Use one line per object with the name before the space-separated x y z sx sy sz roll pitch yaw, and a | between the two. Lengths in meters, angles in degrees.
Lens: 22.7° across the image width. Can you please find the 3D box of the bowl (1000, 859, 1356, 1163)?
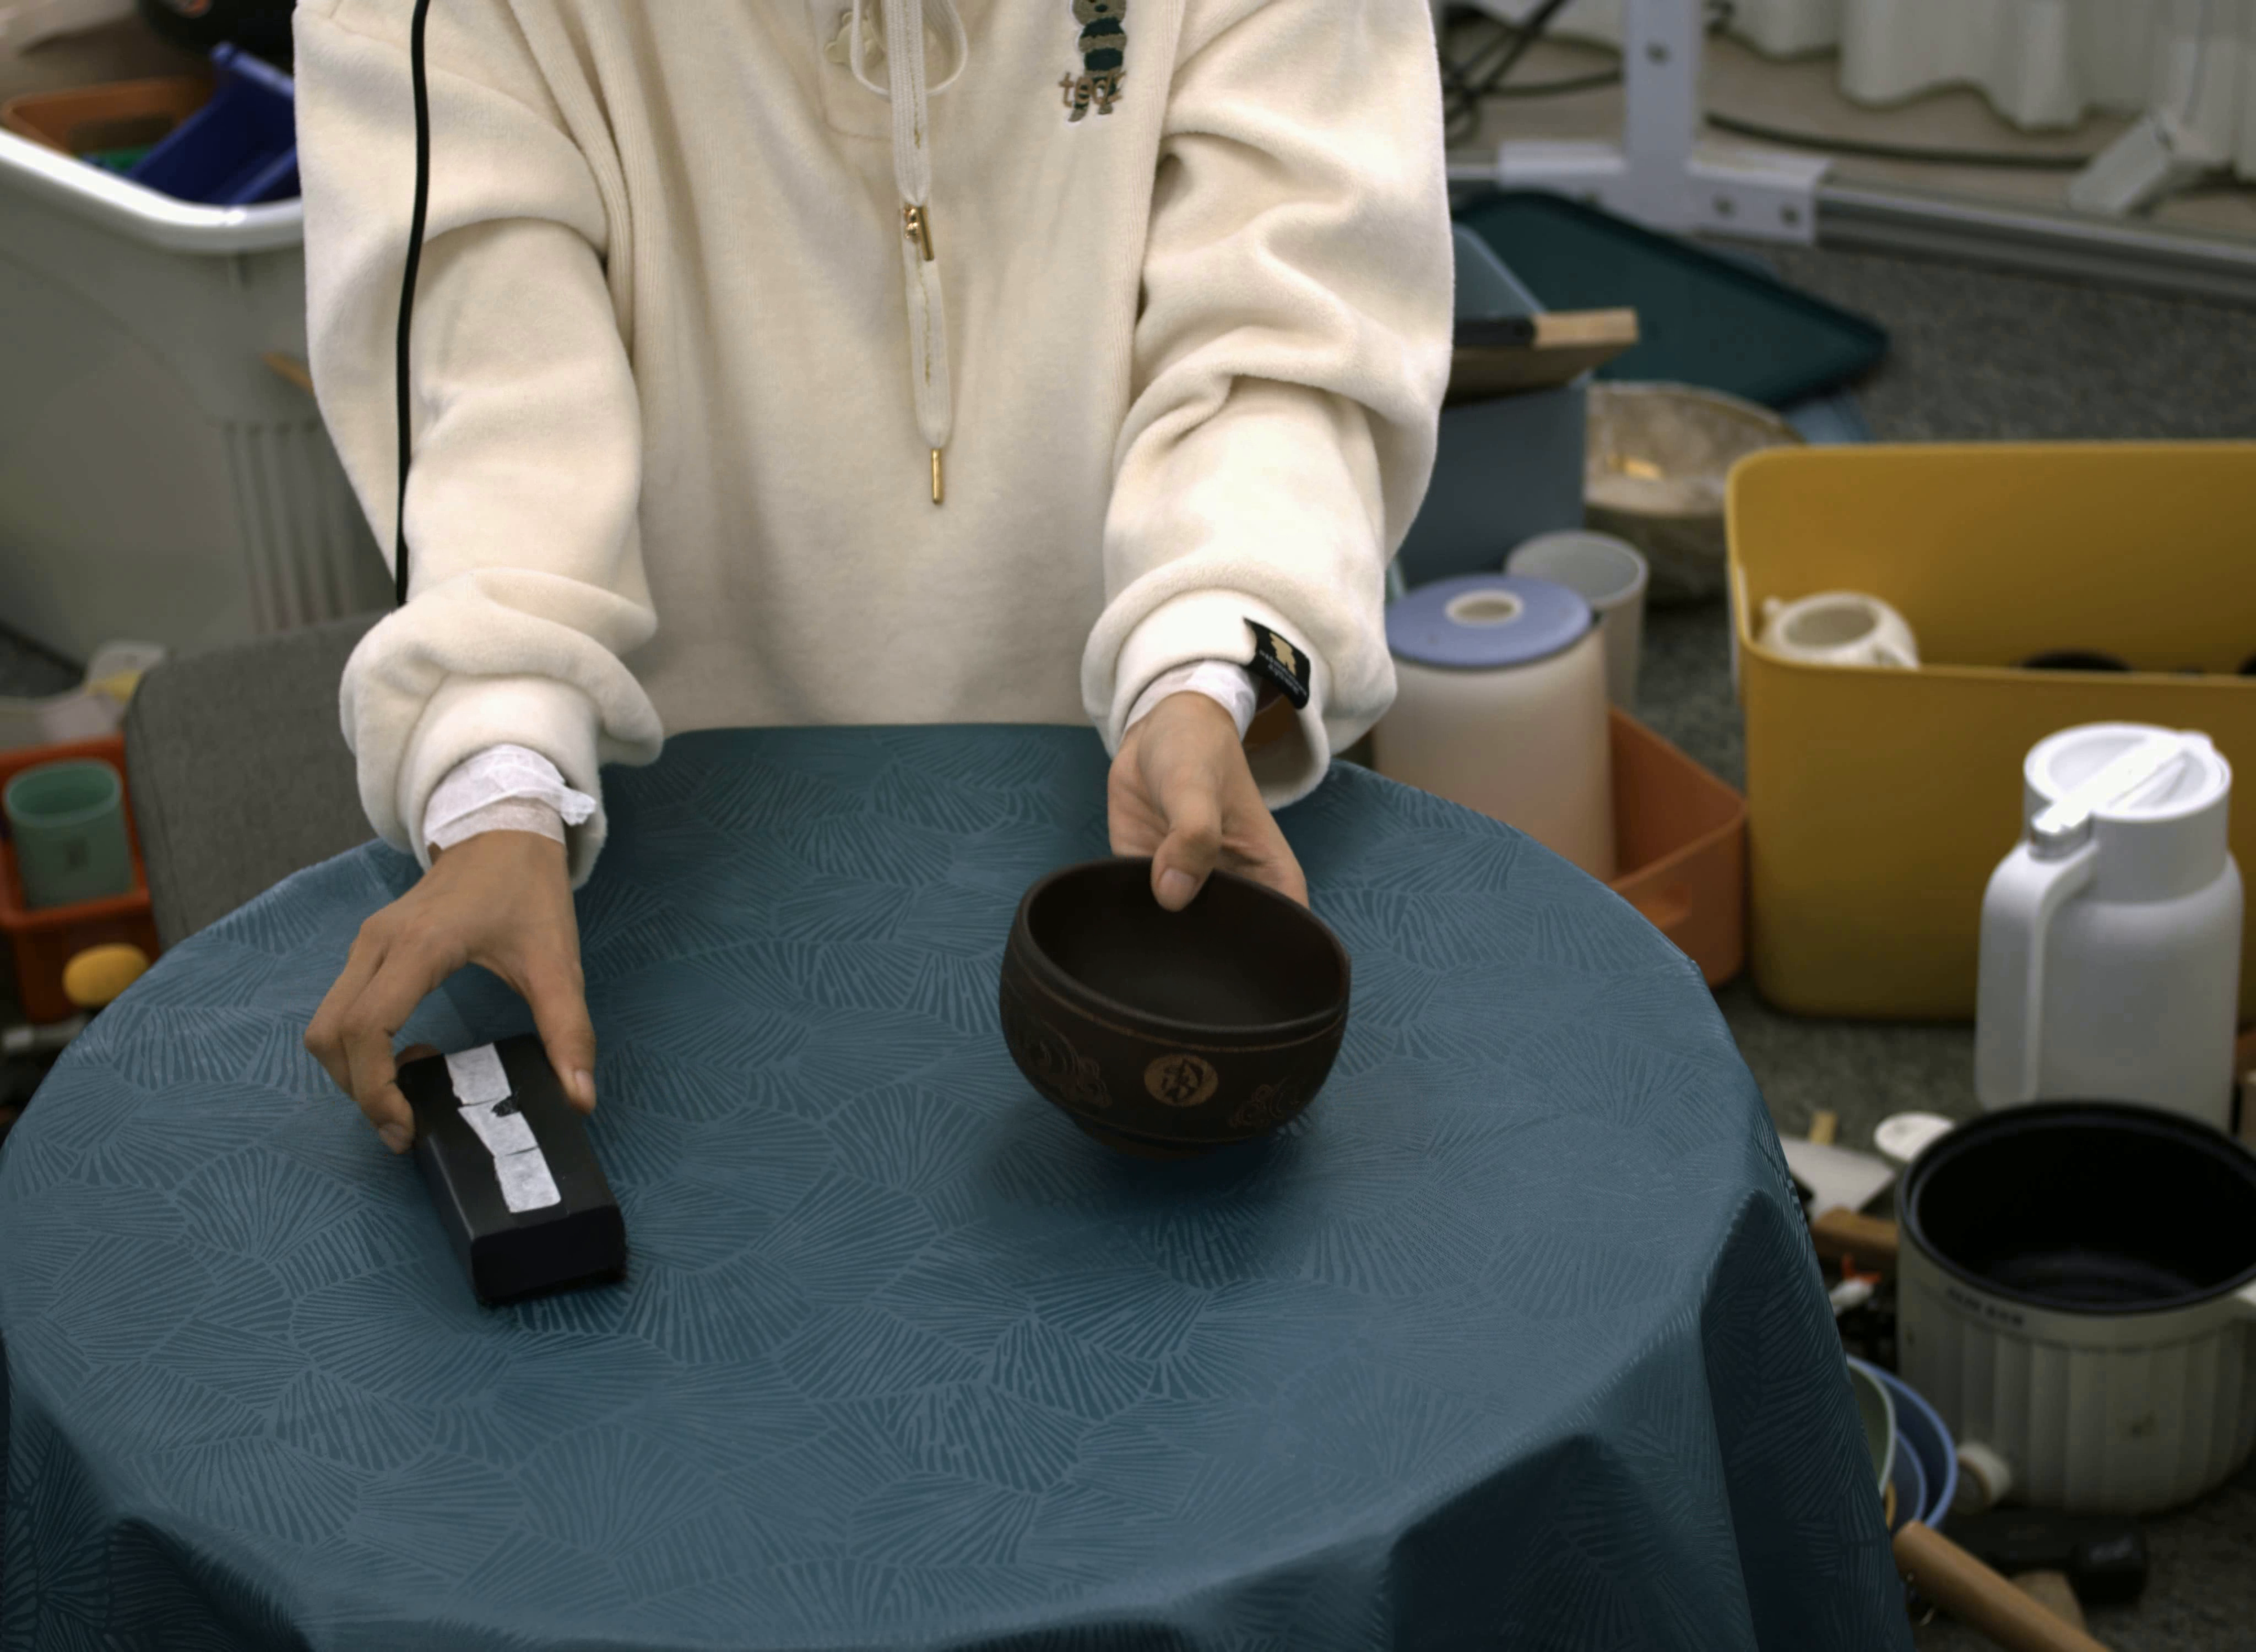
bowl | 0.014 0.068 1.870 0.117 0.069 0.120 8 26 -4

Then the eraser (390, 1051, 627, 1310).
eraser | -0.205 0.117 1.861 0.053 0.030 0.126 -12 27 -15
